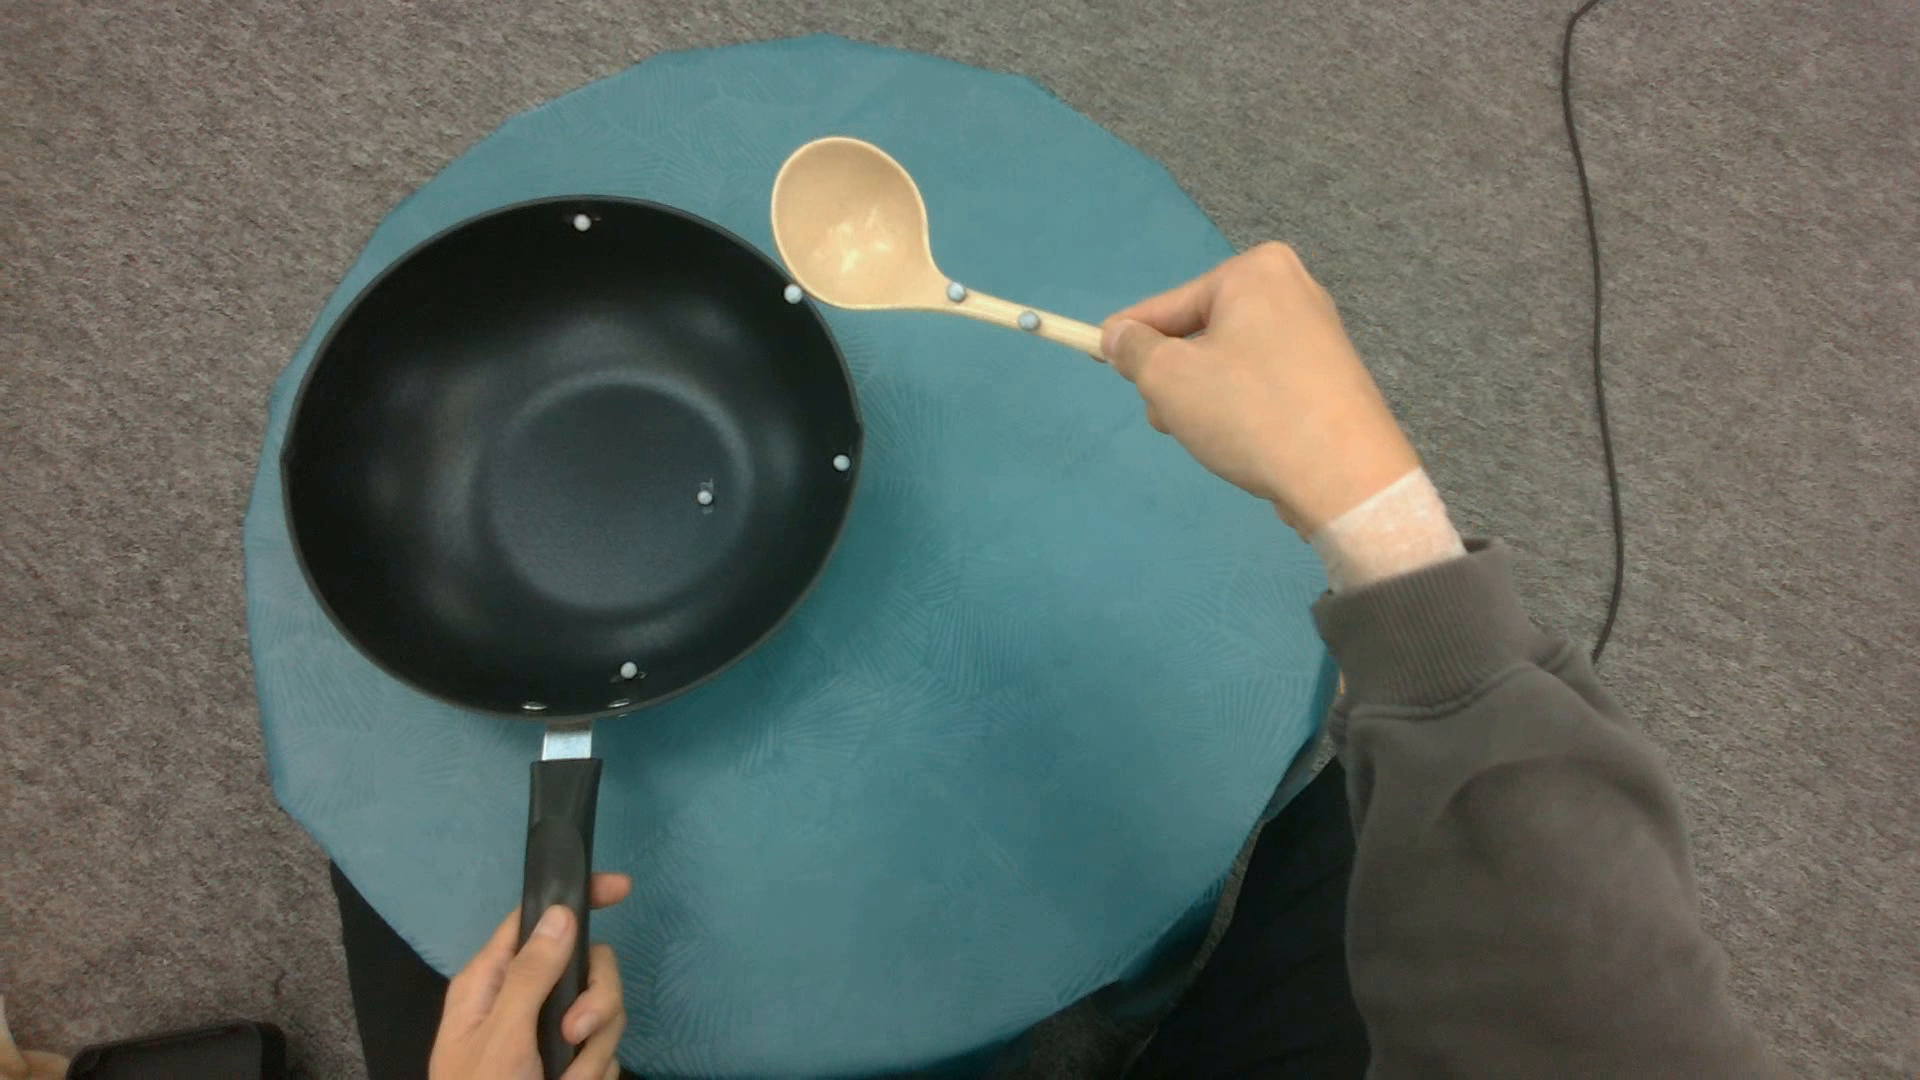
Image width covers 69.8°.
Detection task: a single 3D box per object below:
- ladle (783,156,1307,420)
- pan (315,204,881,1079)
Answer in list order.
[{"bbox_3d":[0.024,-0.107,0.565,0.254,0.072,0.072,23,66,40],"label":"ladle"},{"bbox_3d":[-0.182,0.053,0.710,0.288,0.086,0.464,-2,74,-1],"label":"pan"}]
